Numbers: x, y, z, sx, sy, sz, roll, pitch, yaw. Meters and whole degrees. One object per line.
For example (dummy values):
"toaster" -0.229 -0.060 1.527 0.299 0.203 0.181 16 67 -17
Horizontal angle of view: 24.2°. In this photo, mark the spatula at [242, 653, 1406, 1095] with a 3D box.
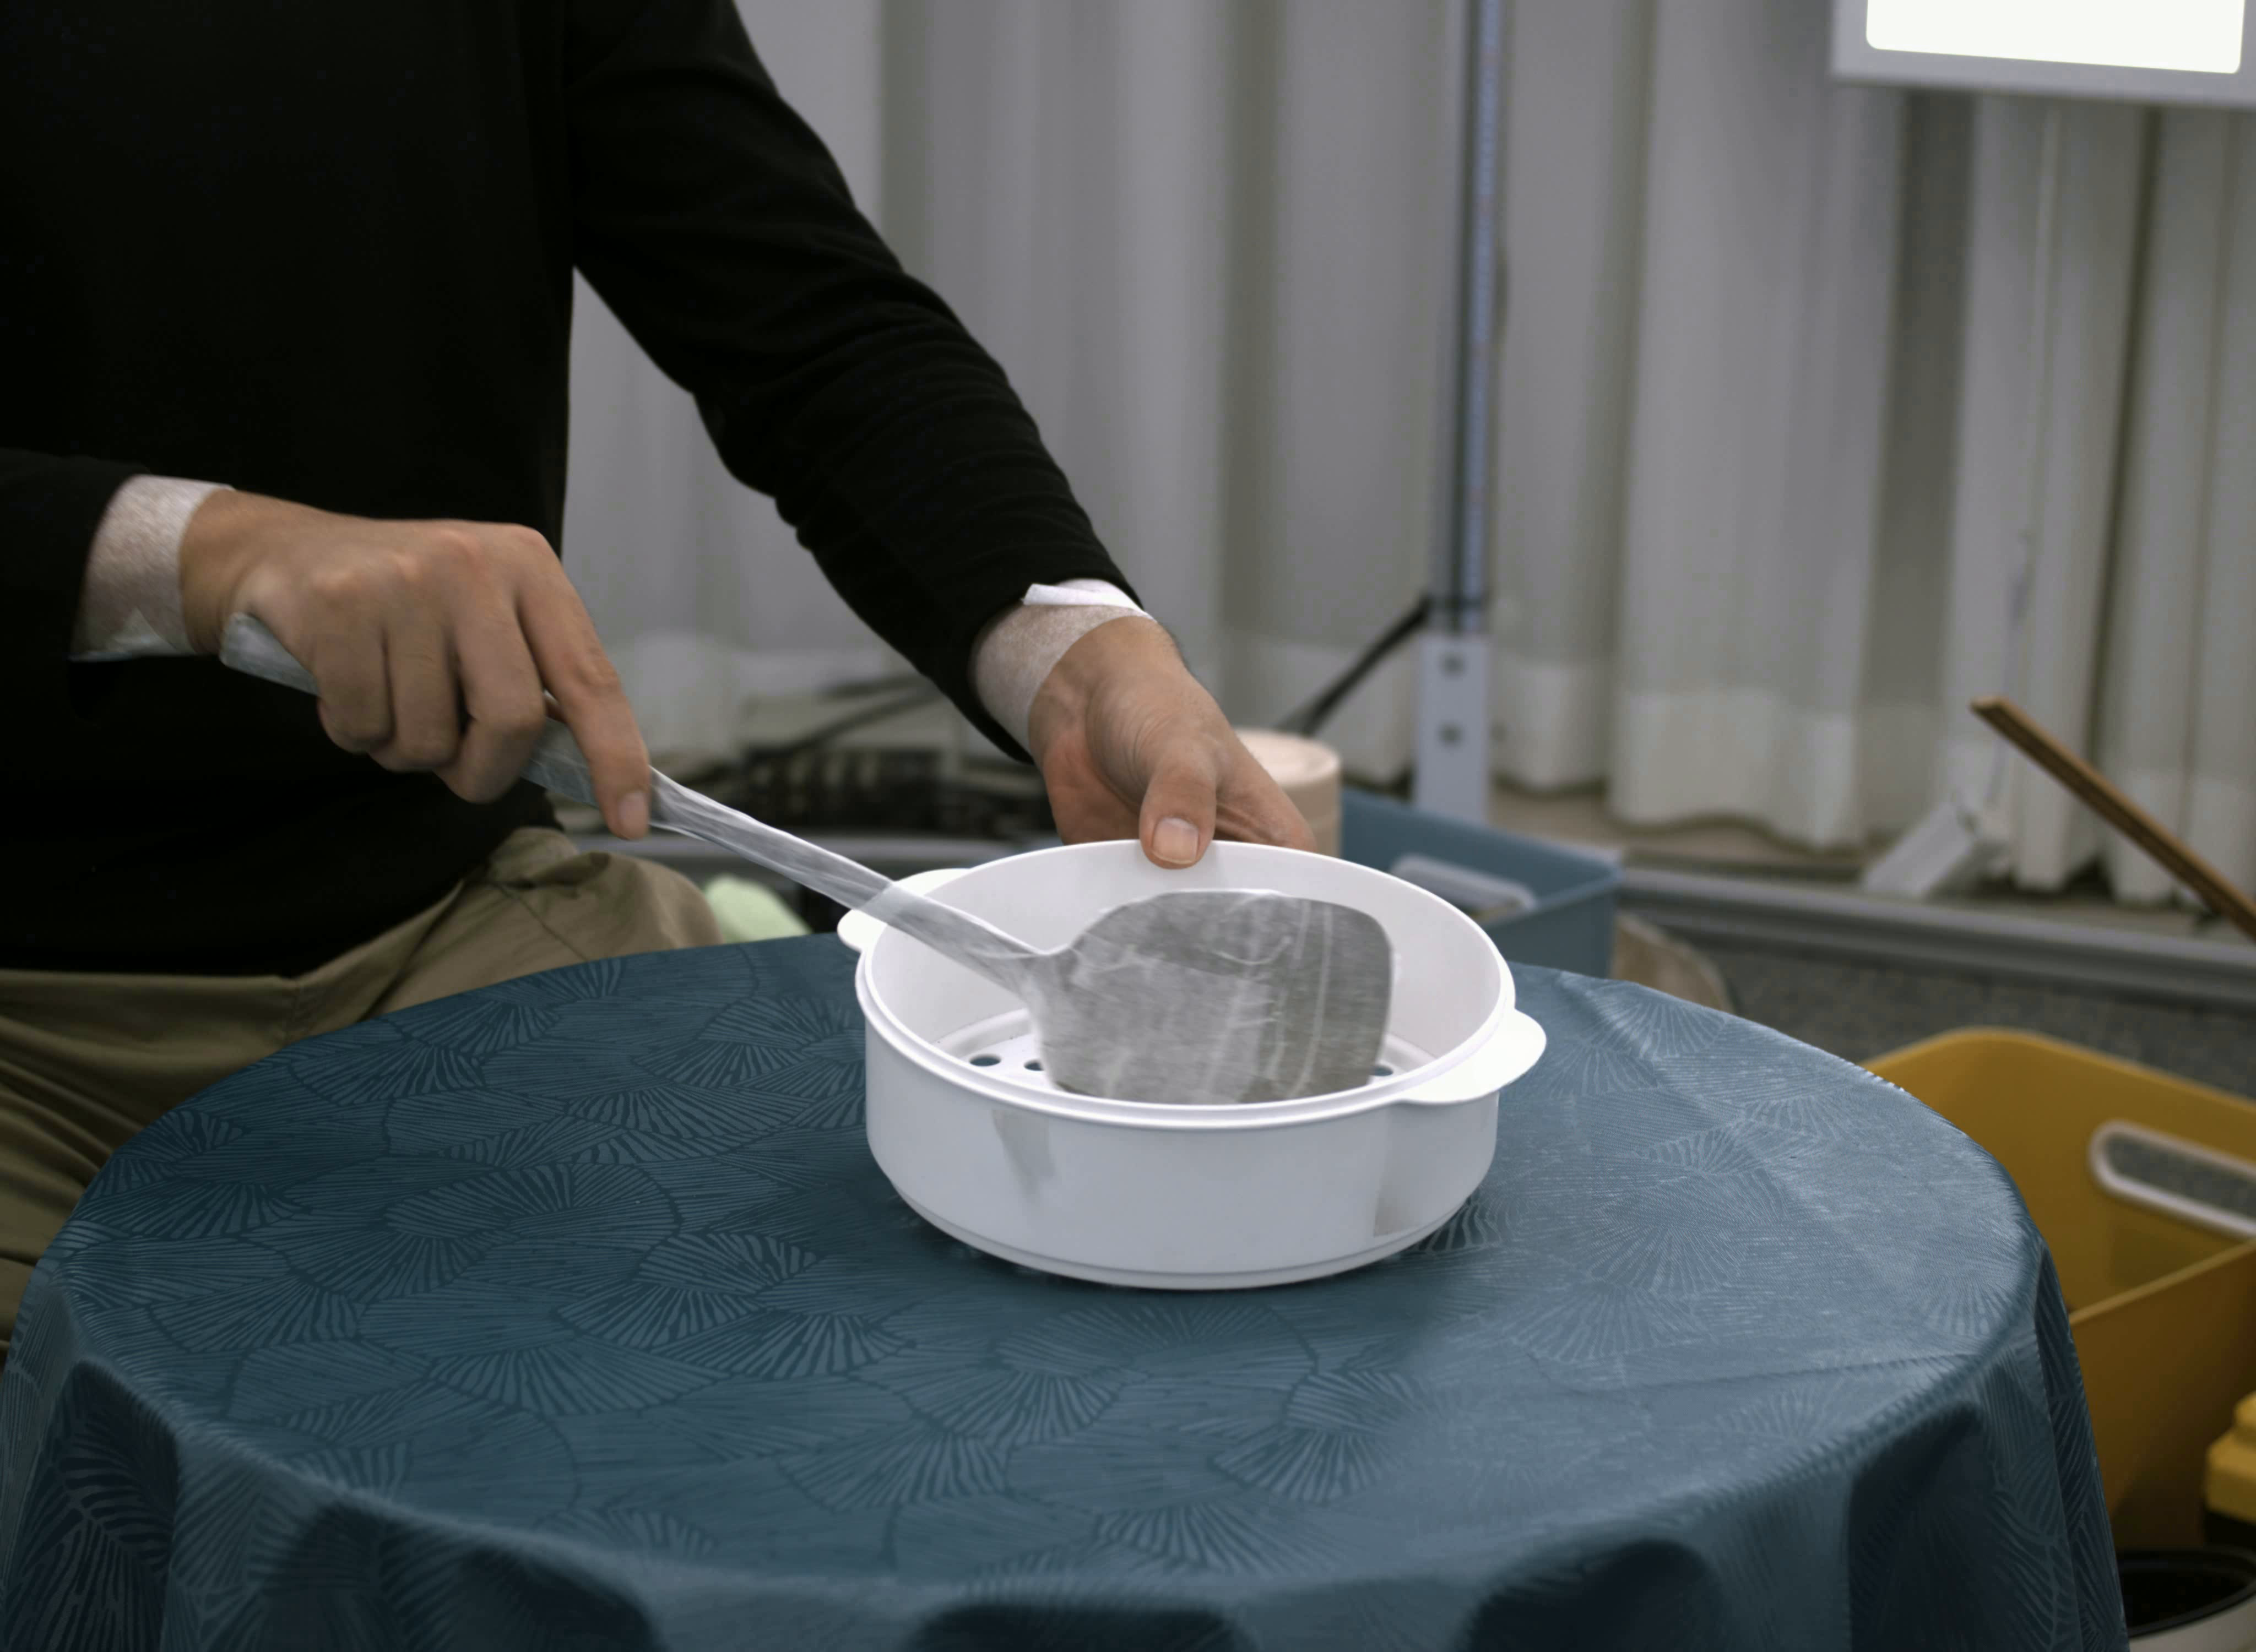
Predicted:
"spatula" -0.093 0.012 1.577 0.363 0.099 0.045 23 25 8

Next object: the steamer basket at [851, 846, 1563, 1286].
"steamer basket" 0.021 0.072 1.603 0.228 0.070 0.202 14 25 28
